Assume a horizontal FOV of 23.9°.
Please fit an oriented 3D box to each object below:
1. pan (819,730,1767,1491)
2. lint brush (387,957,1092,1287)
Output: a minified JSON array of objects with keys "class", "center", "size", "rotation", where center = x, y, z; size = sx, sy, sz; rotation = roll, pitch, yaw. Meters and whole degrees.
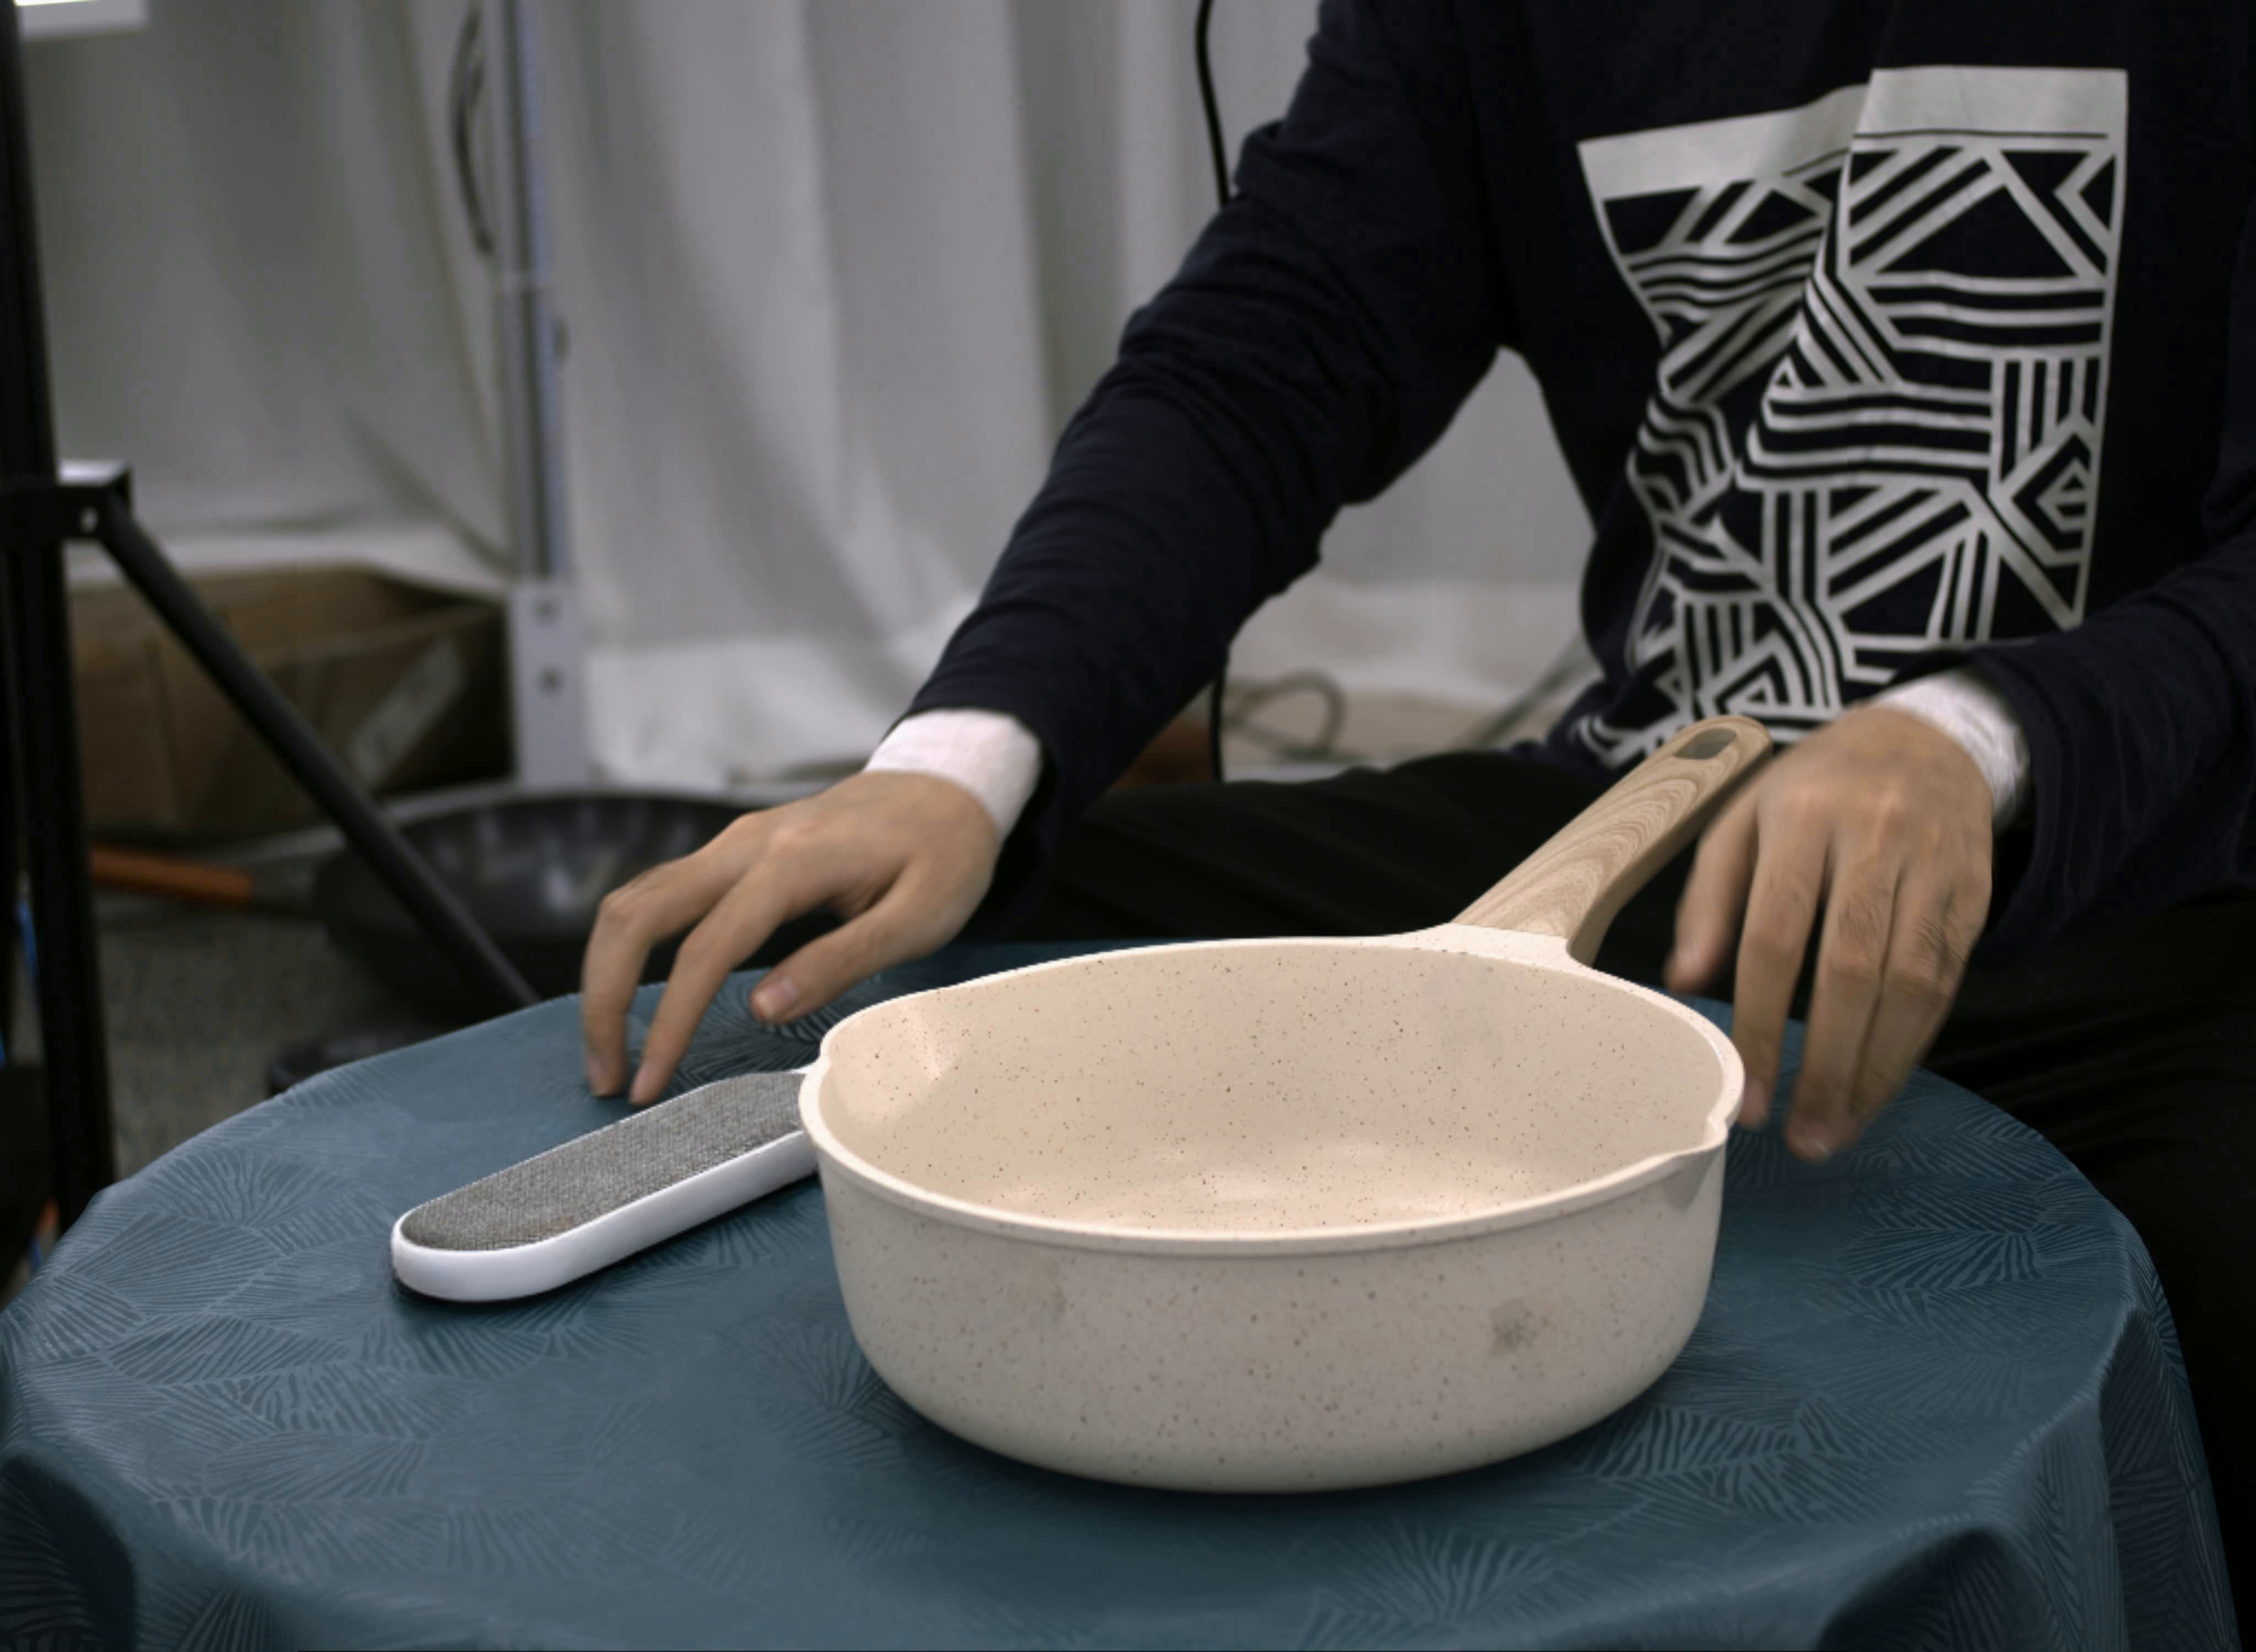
[{"class":"pan","center":[0.089,0.075,1.486],"size":[0.268,0.102,0.427],"rotation":[4,17,30]},{"class":"lint brush","center":[-0.107,0.086,1.604],"size":[0.061,0.021,0.302],"rotation":[3,16,37]}]
